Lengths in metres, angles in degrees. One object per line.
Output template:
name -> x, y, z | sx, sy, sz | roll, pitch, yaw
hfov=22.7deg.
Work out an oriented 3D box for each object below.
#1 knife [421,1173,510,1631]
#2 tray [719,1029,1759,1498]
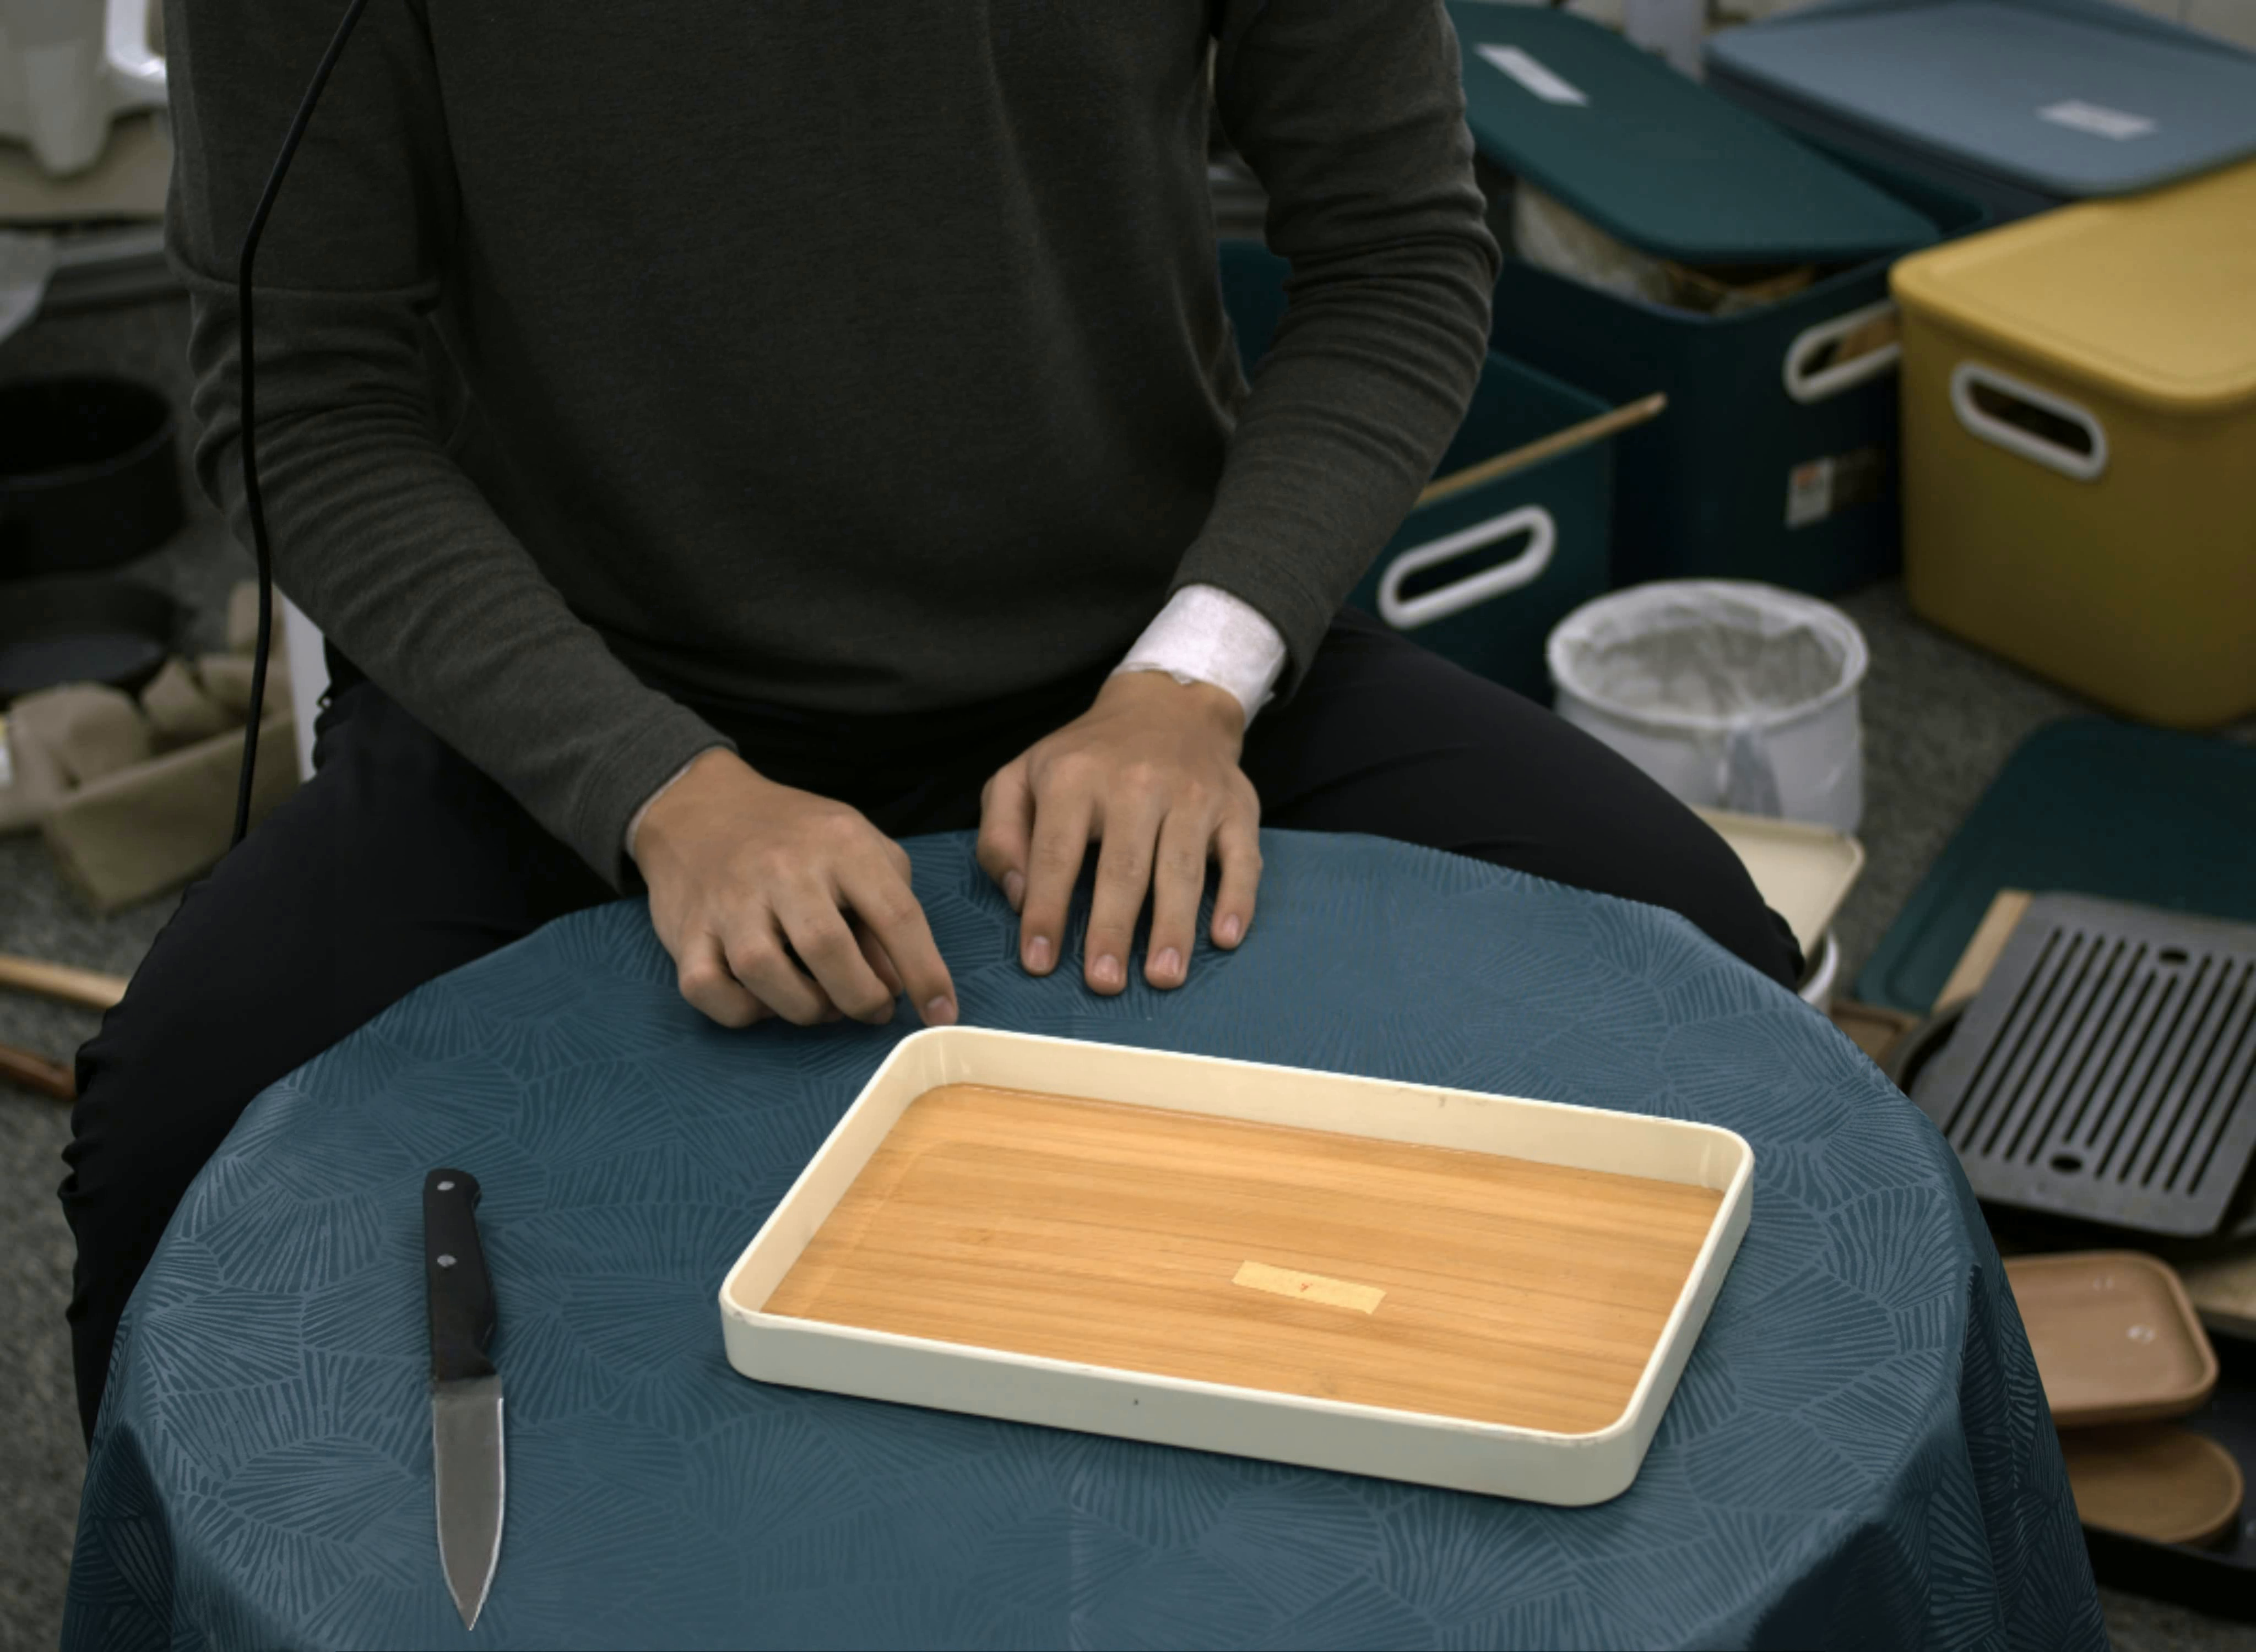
knife -> -0.209, 0.179, 1.757 | 0.024, 0.016, 0.241 | -8, 30, -5
tray -> 0.037, 0.137, 1.801 | 0.298, 0.027, 0.195 | 7, 28, 18
